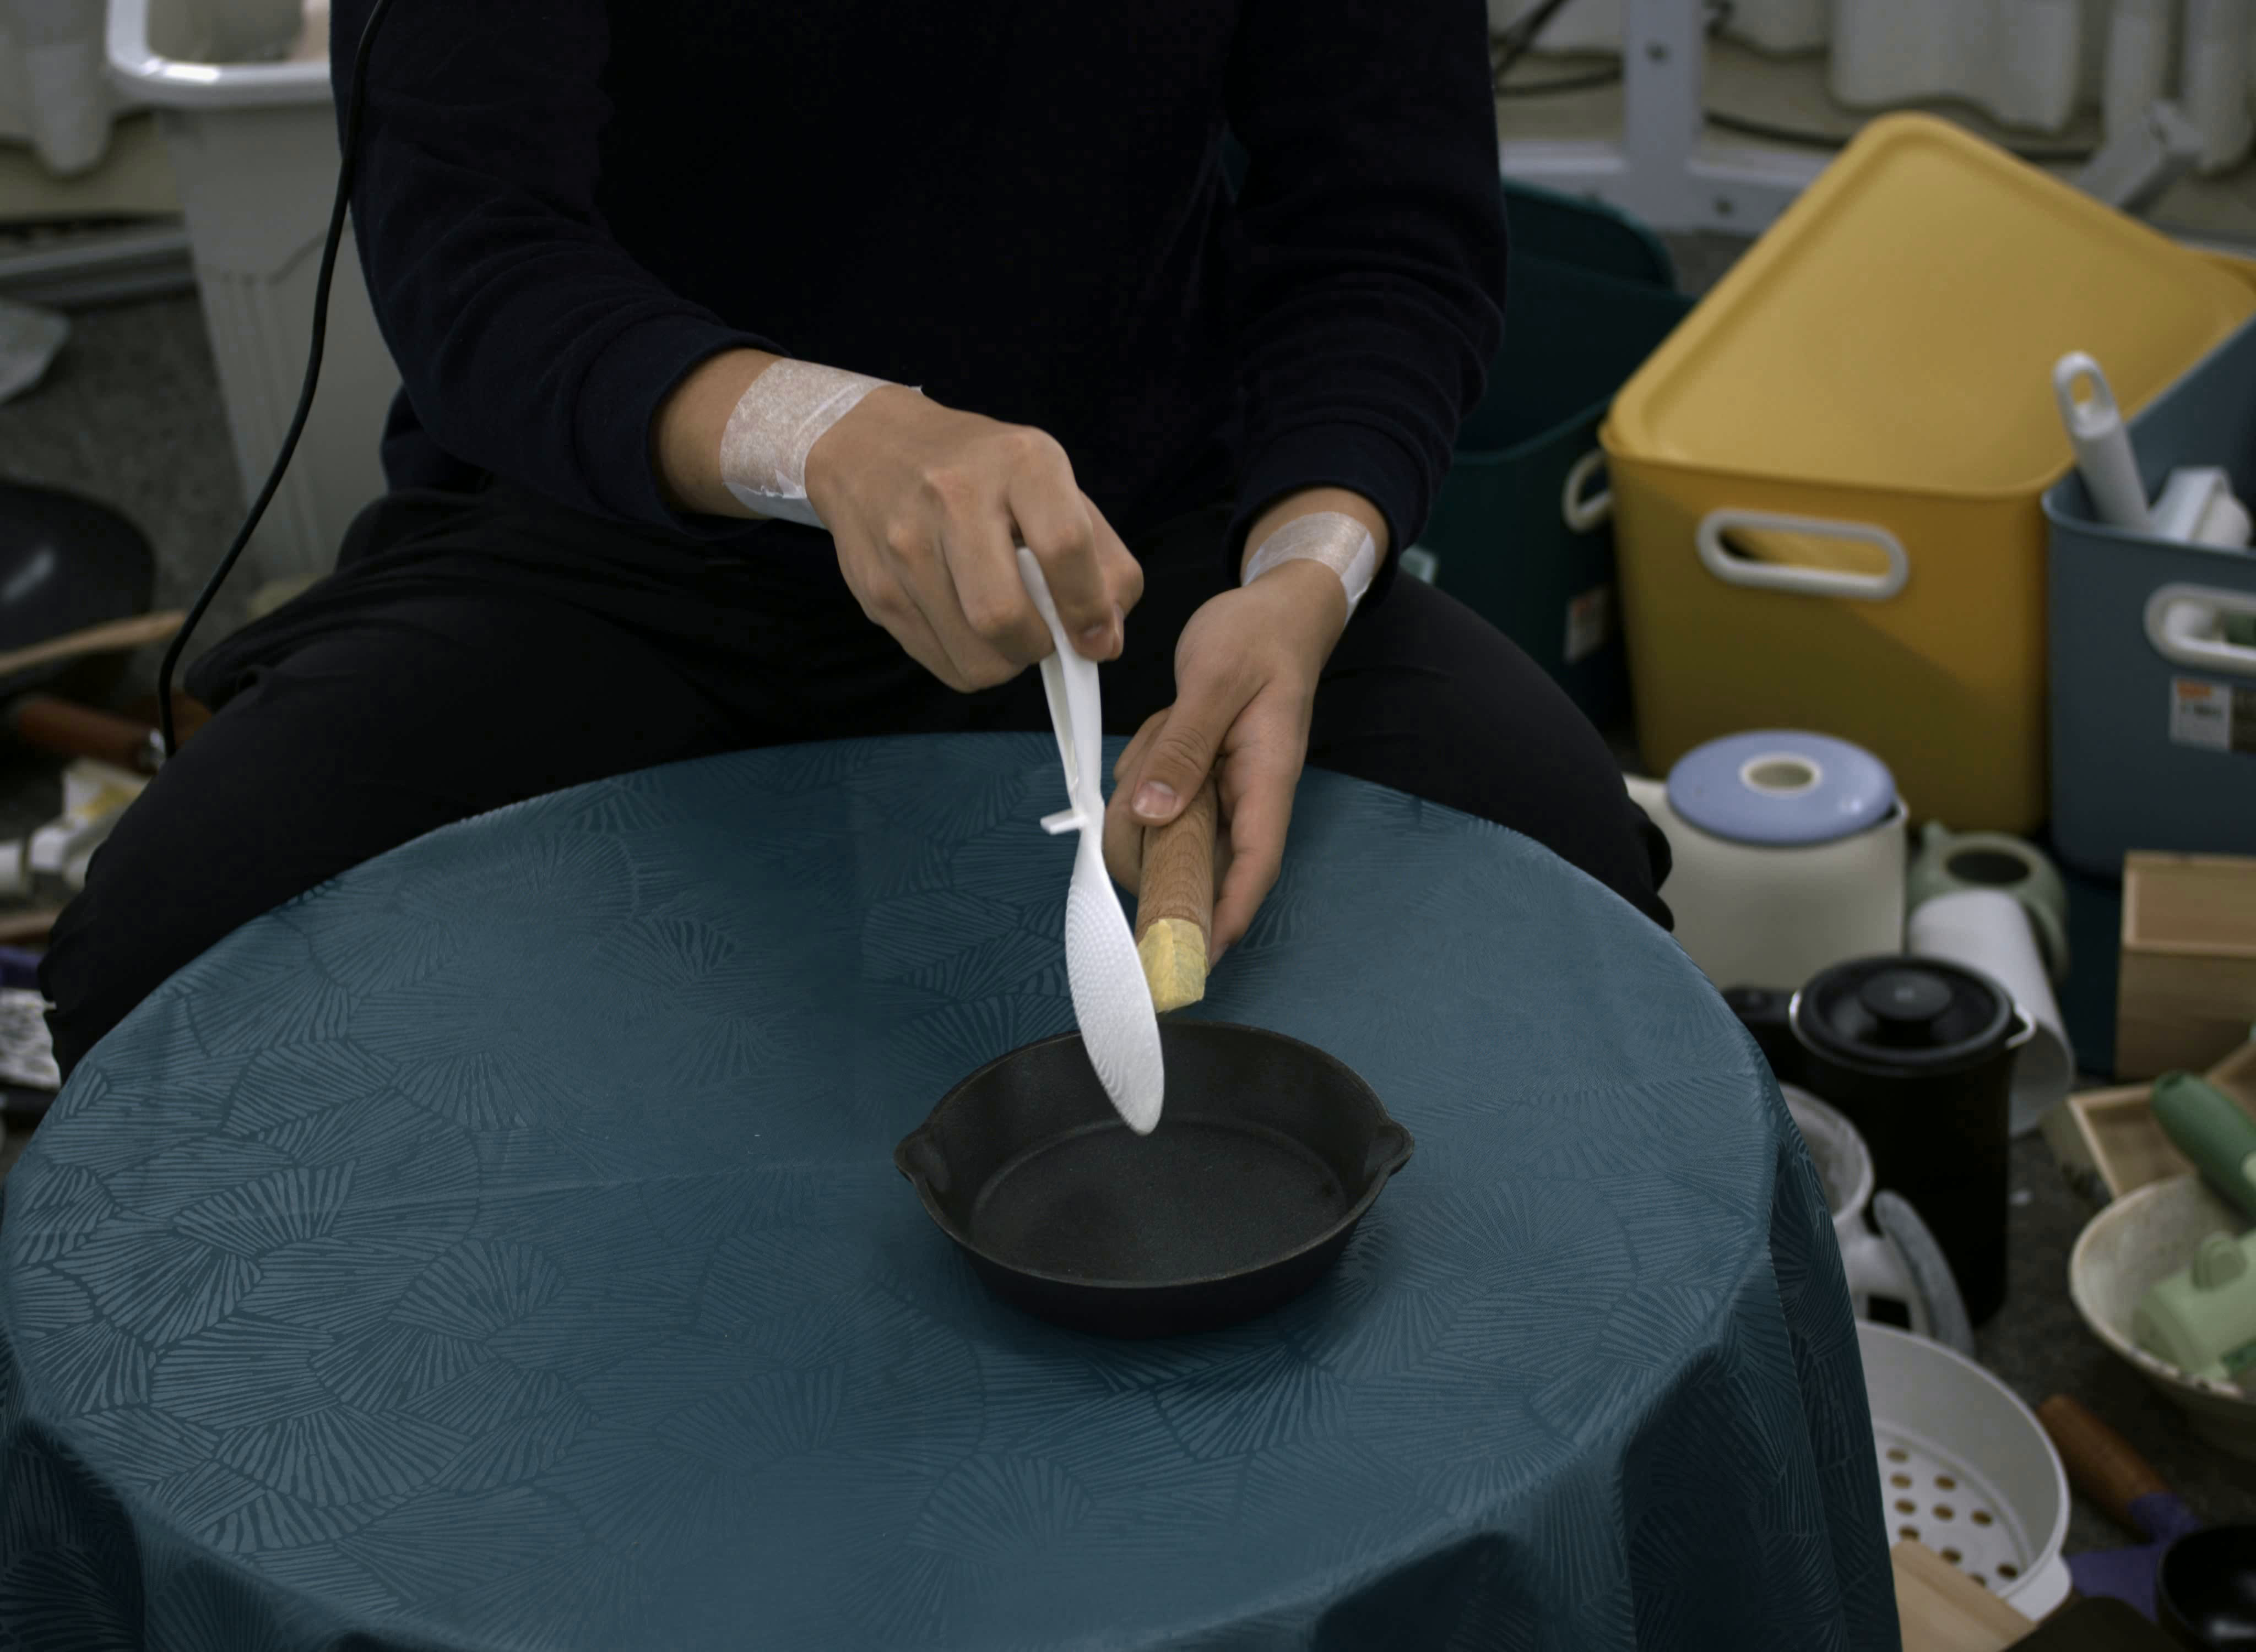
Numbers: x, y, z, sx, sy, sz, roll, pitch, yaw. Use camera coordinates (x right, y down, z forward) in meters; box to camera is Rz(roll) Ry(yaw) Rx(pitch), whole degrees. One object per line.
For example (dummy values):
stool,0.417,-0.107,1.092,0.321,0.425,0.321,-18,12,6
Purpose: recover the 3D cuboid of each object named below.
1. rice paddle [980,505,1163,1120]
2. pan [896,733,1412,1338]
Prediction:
rice paddle,-0.012,-0.002,1.811,0.029,0.204,0.069,-15,16,-14
pan,0.015,0.068,1.900,0.168,0.049,0.330,0,31,5
